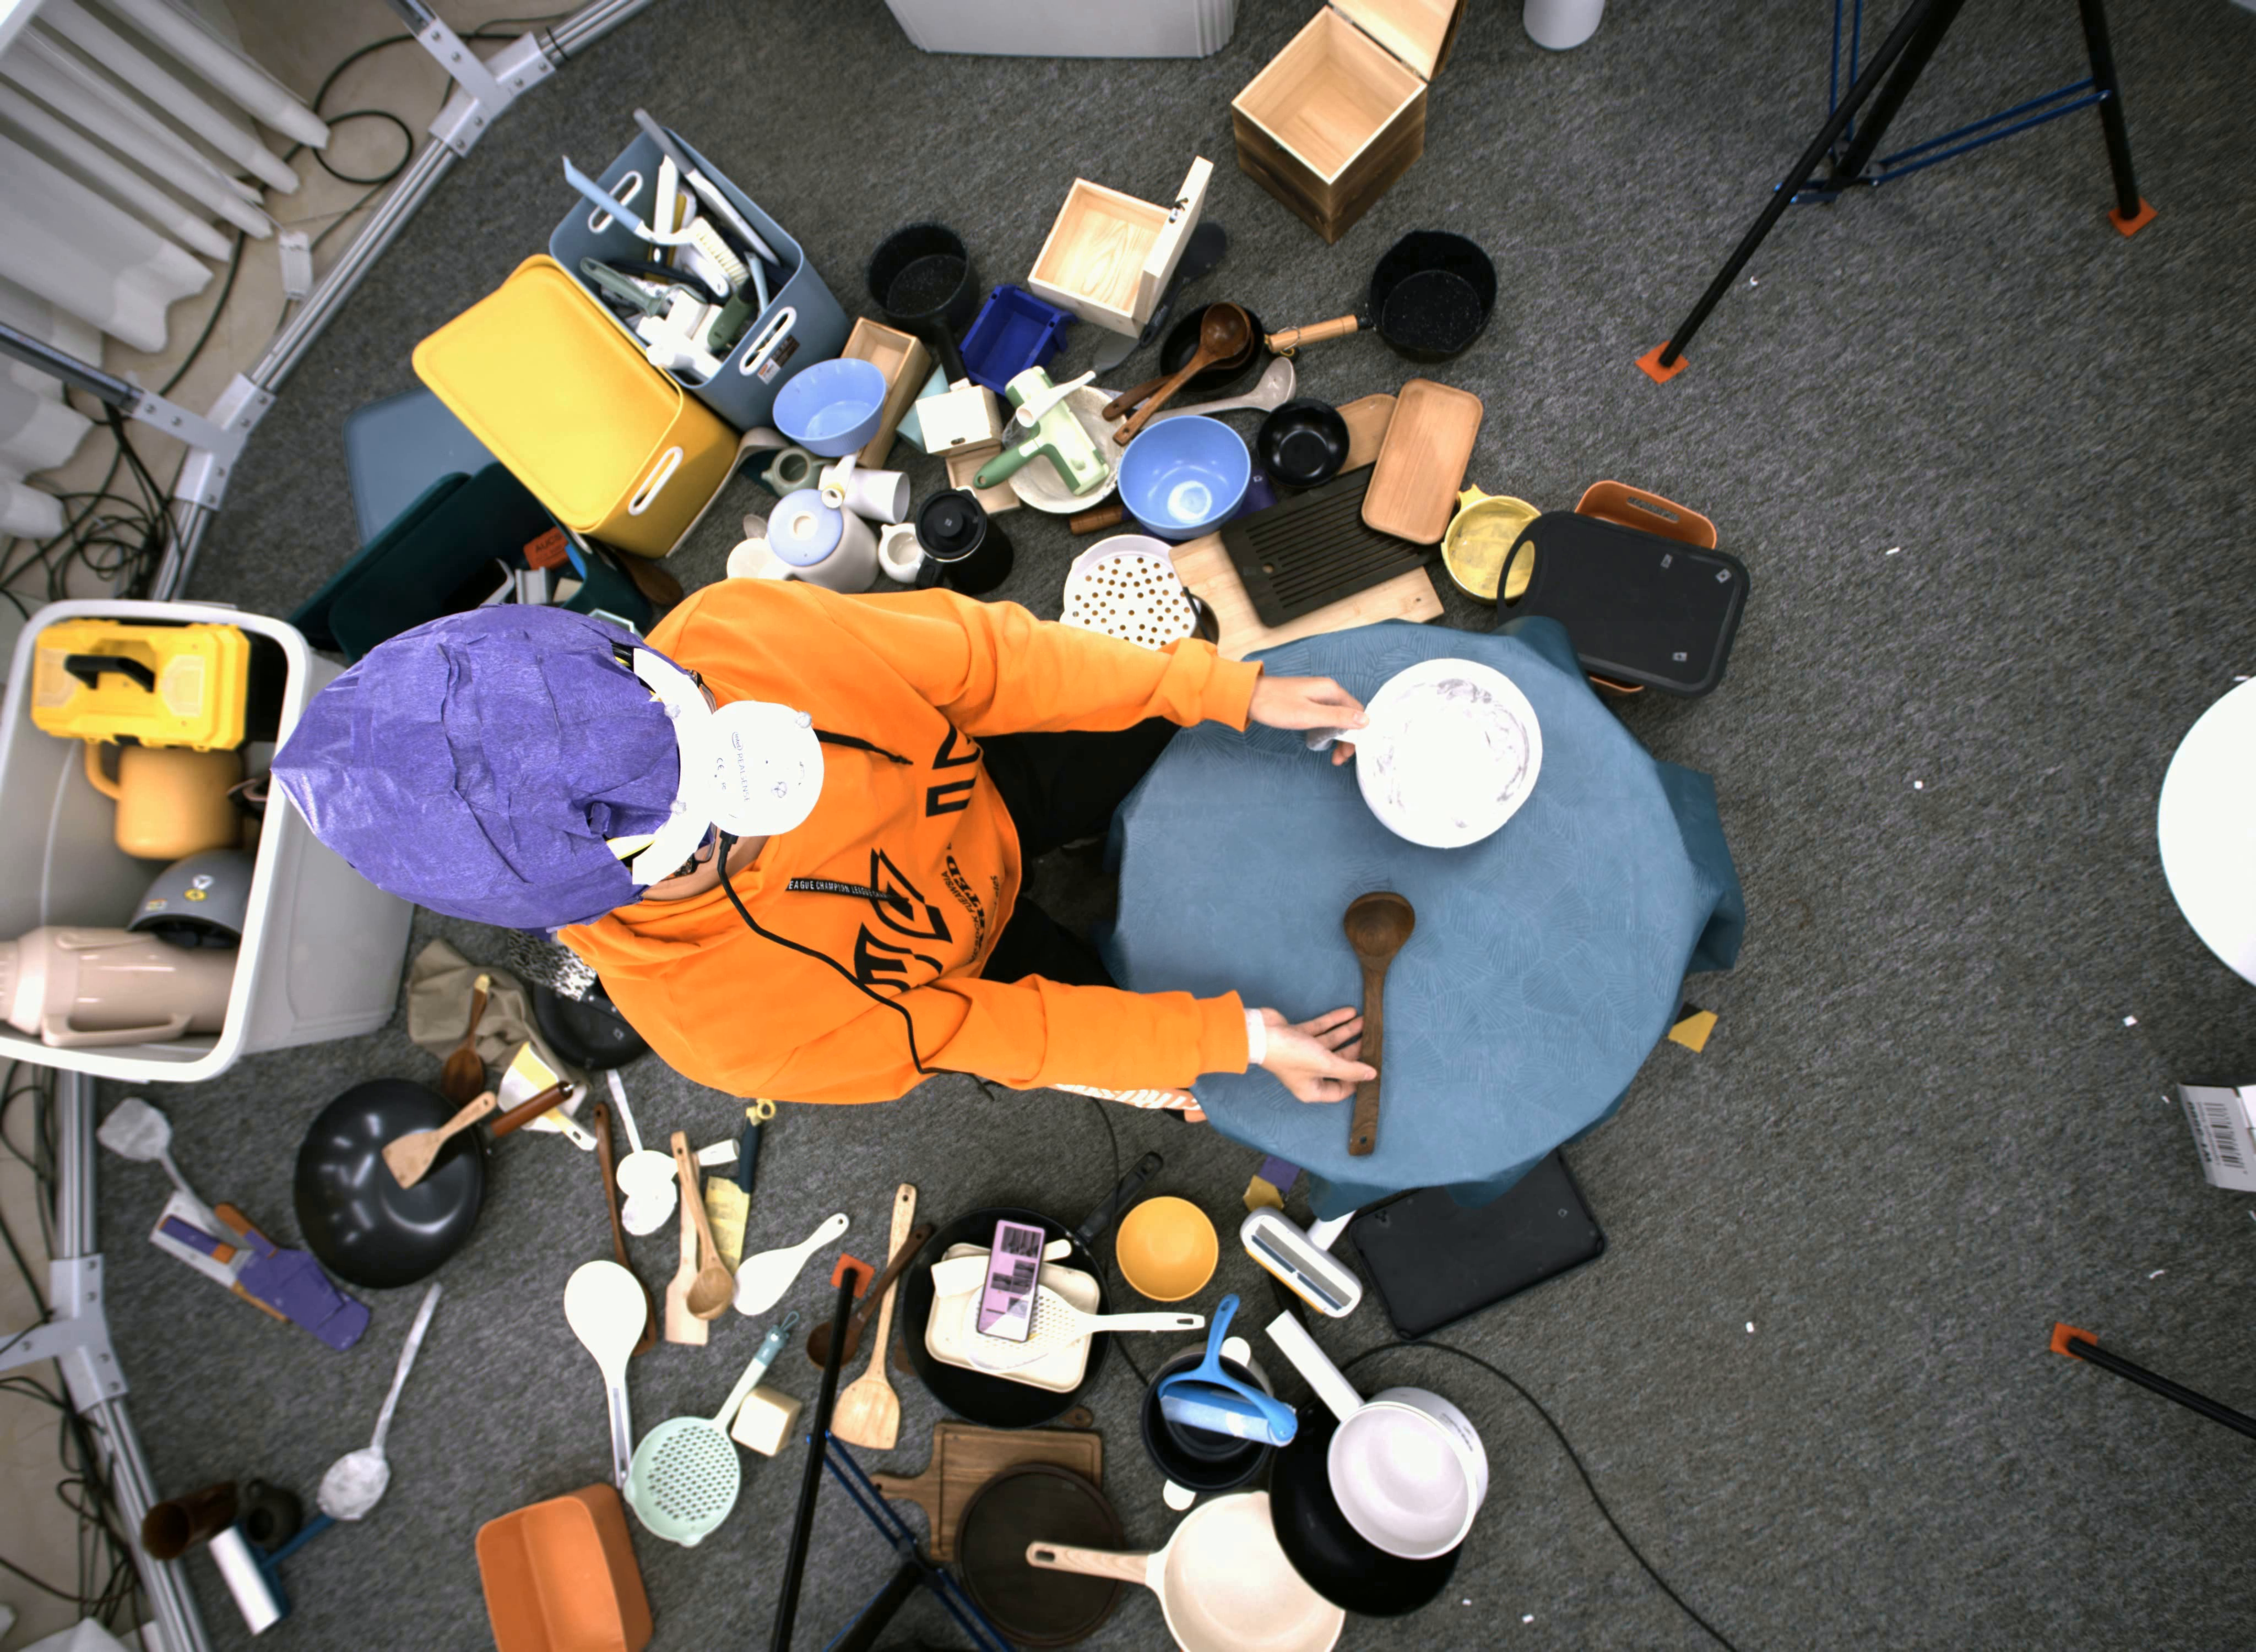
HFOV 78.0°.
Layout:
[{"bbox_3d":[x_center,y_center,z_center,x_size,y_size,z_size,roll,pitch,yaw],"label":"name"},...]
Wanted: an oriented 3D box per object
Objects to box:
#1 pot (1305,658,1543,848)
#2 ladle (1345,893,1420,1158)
[{"bbox_3d":[0.294,-0.076,1.394,0.234,0.137,0.178,13,87,10],"label":"pot"},{"bbox_3d":[0.254,0.204,1.419,0.076,0.071,0.273,4,86,5],"label":"ladle"}]
